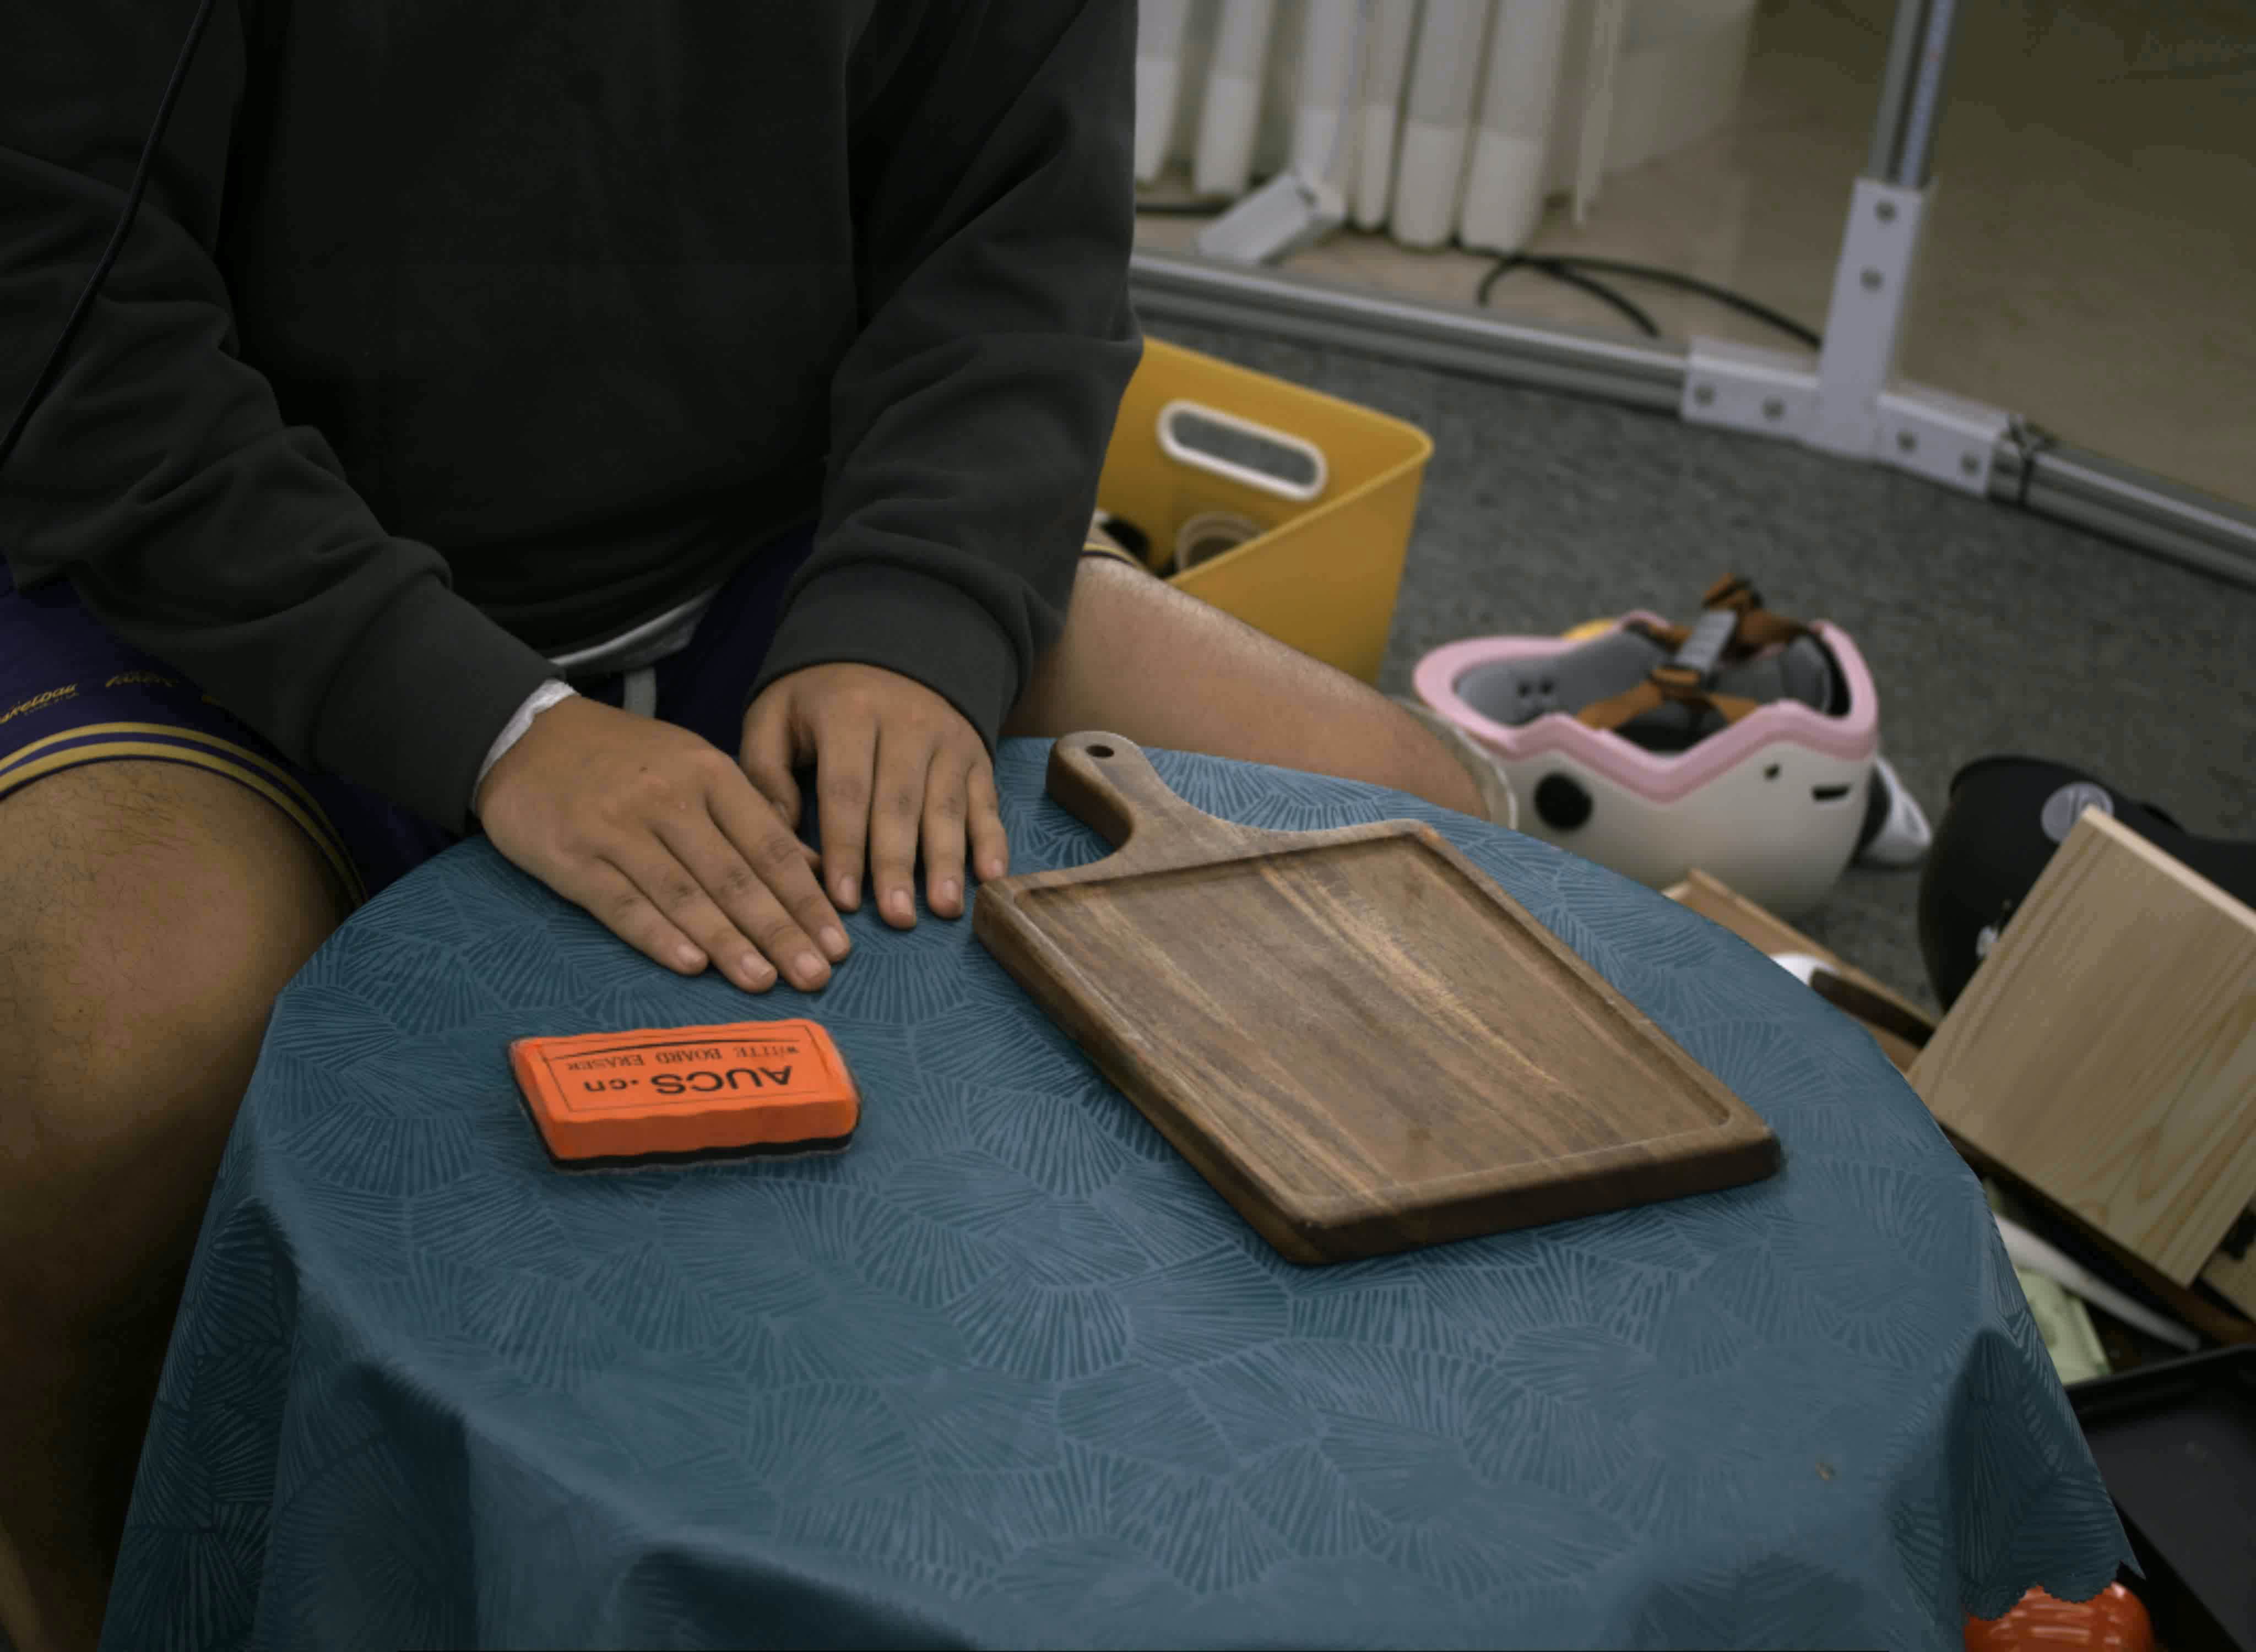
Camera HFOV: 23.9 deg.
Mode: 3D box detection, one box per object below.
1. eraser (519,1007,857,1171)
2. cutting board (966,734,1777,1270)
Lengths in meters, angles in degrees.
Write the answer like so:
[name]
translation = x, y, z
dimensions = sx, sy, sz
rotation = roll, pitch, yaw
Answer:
[eraser]
translation = -0.149, 0.089, 1.803
dimensions = 0.107, 0.023, 0.059
rotation = -5, 30, -19
[cutting board]
translation = 0.060, 0.050, 1.937
dimensions = 0.200, 0.023, 0.355
rotation = -9, 30, -27
